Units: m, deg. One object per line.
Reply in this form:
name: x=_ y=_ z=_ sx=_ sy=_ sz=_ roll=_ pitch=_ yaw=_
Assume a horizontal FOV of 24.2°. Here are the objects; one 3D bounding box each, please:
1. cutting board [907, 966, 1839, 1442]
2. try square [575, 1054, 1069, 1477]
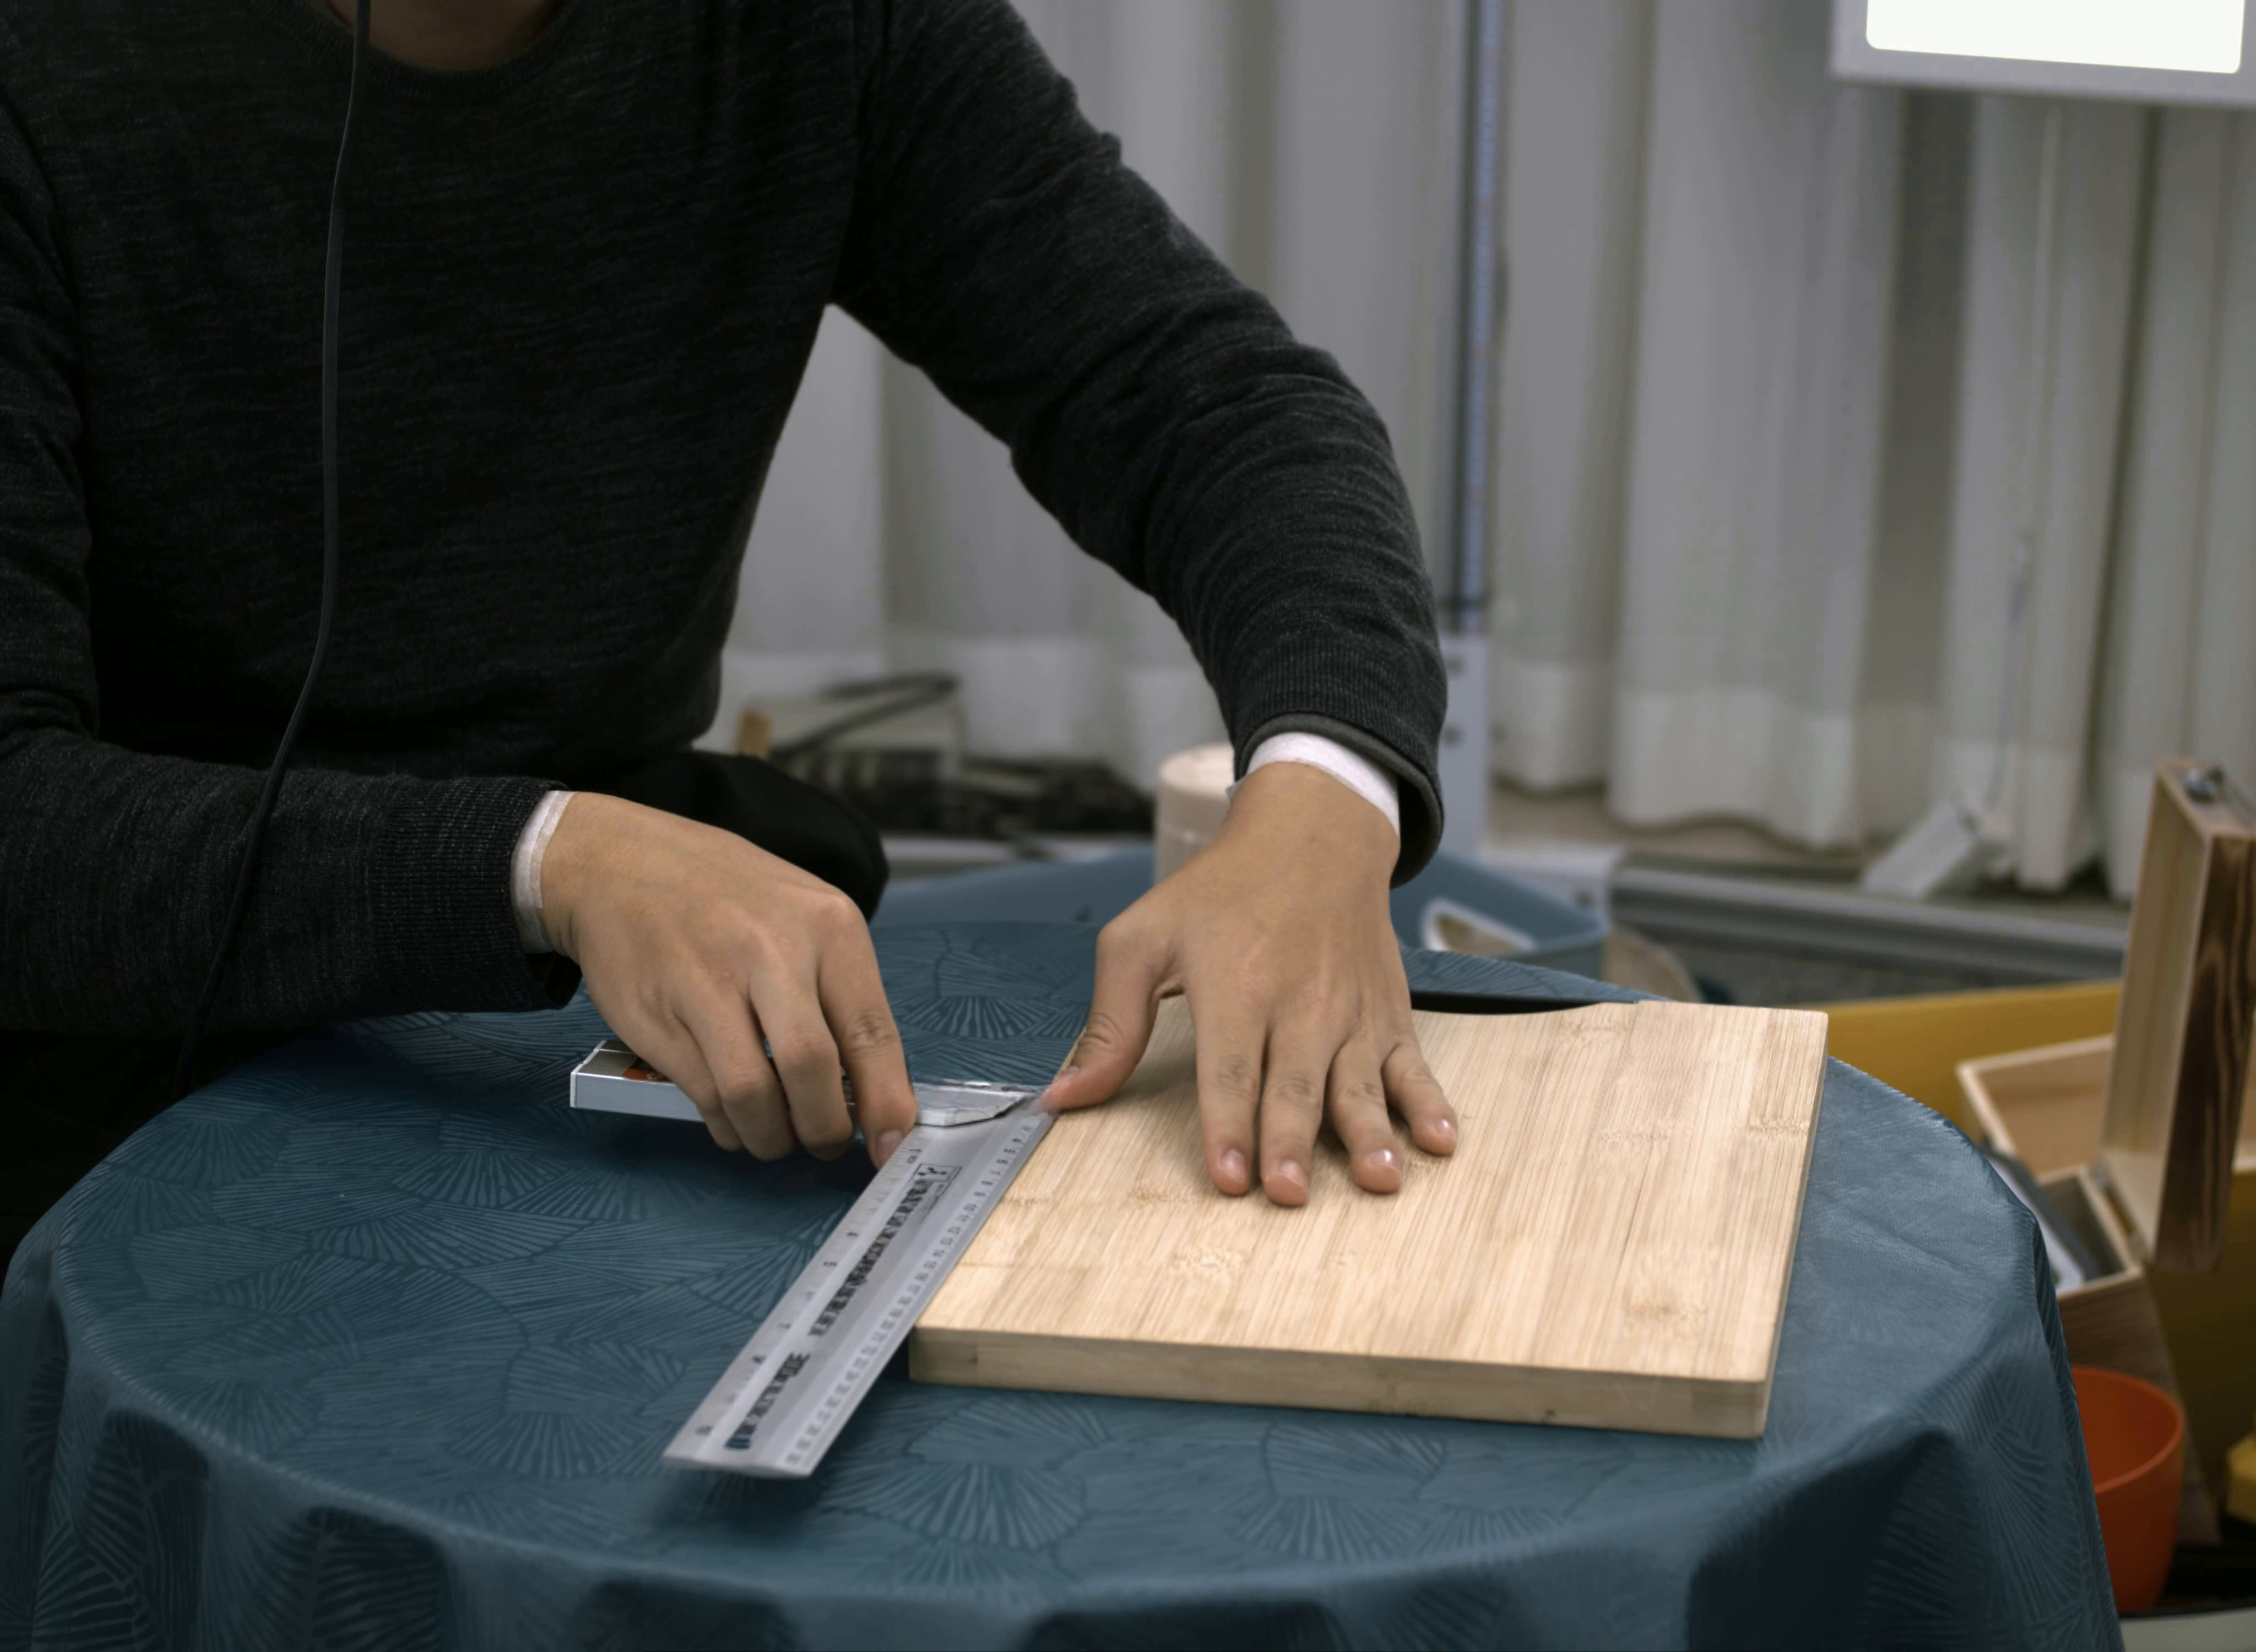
cutting board: x=0.087 y=0.108 z=1.610 sx=0.249 sy=0.024 sz=0.348 roll=3 pitch=16 yaw=8
try square: x=-0.123 y=0.121 z=1.512 sx=0.151 sy=0.016 sz=0.312 roll=4 pitch=16 yaw=11
